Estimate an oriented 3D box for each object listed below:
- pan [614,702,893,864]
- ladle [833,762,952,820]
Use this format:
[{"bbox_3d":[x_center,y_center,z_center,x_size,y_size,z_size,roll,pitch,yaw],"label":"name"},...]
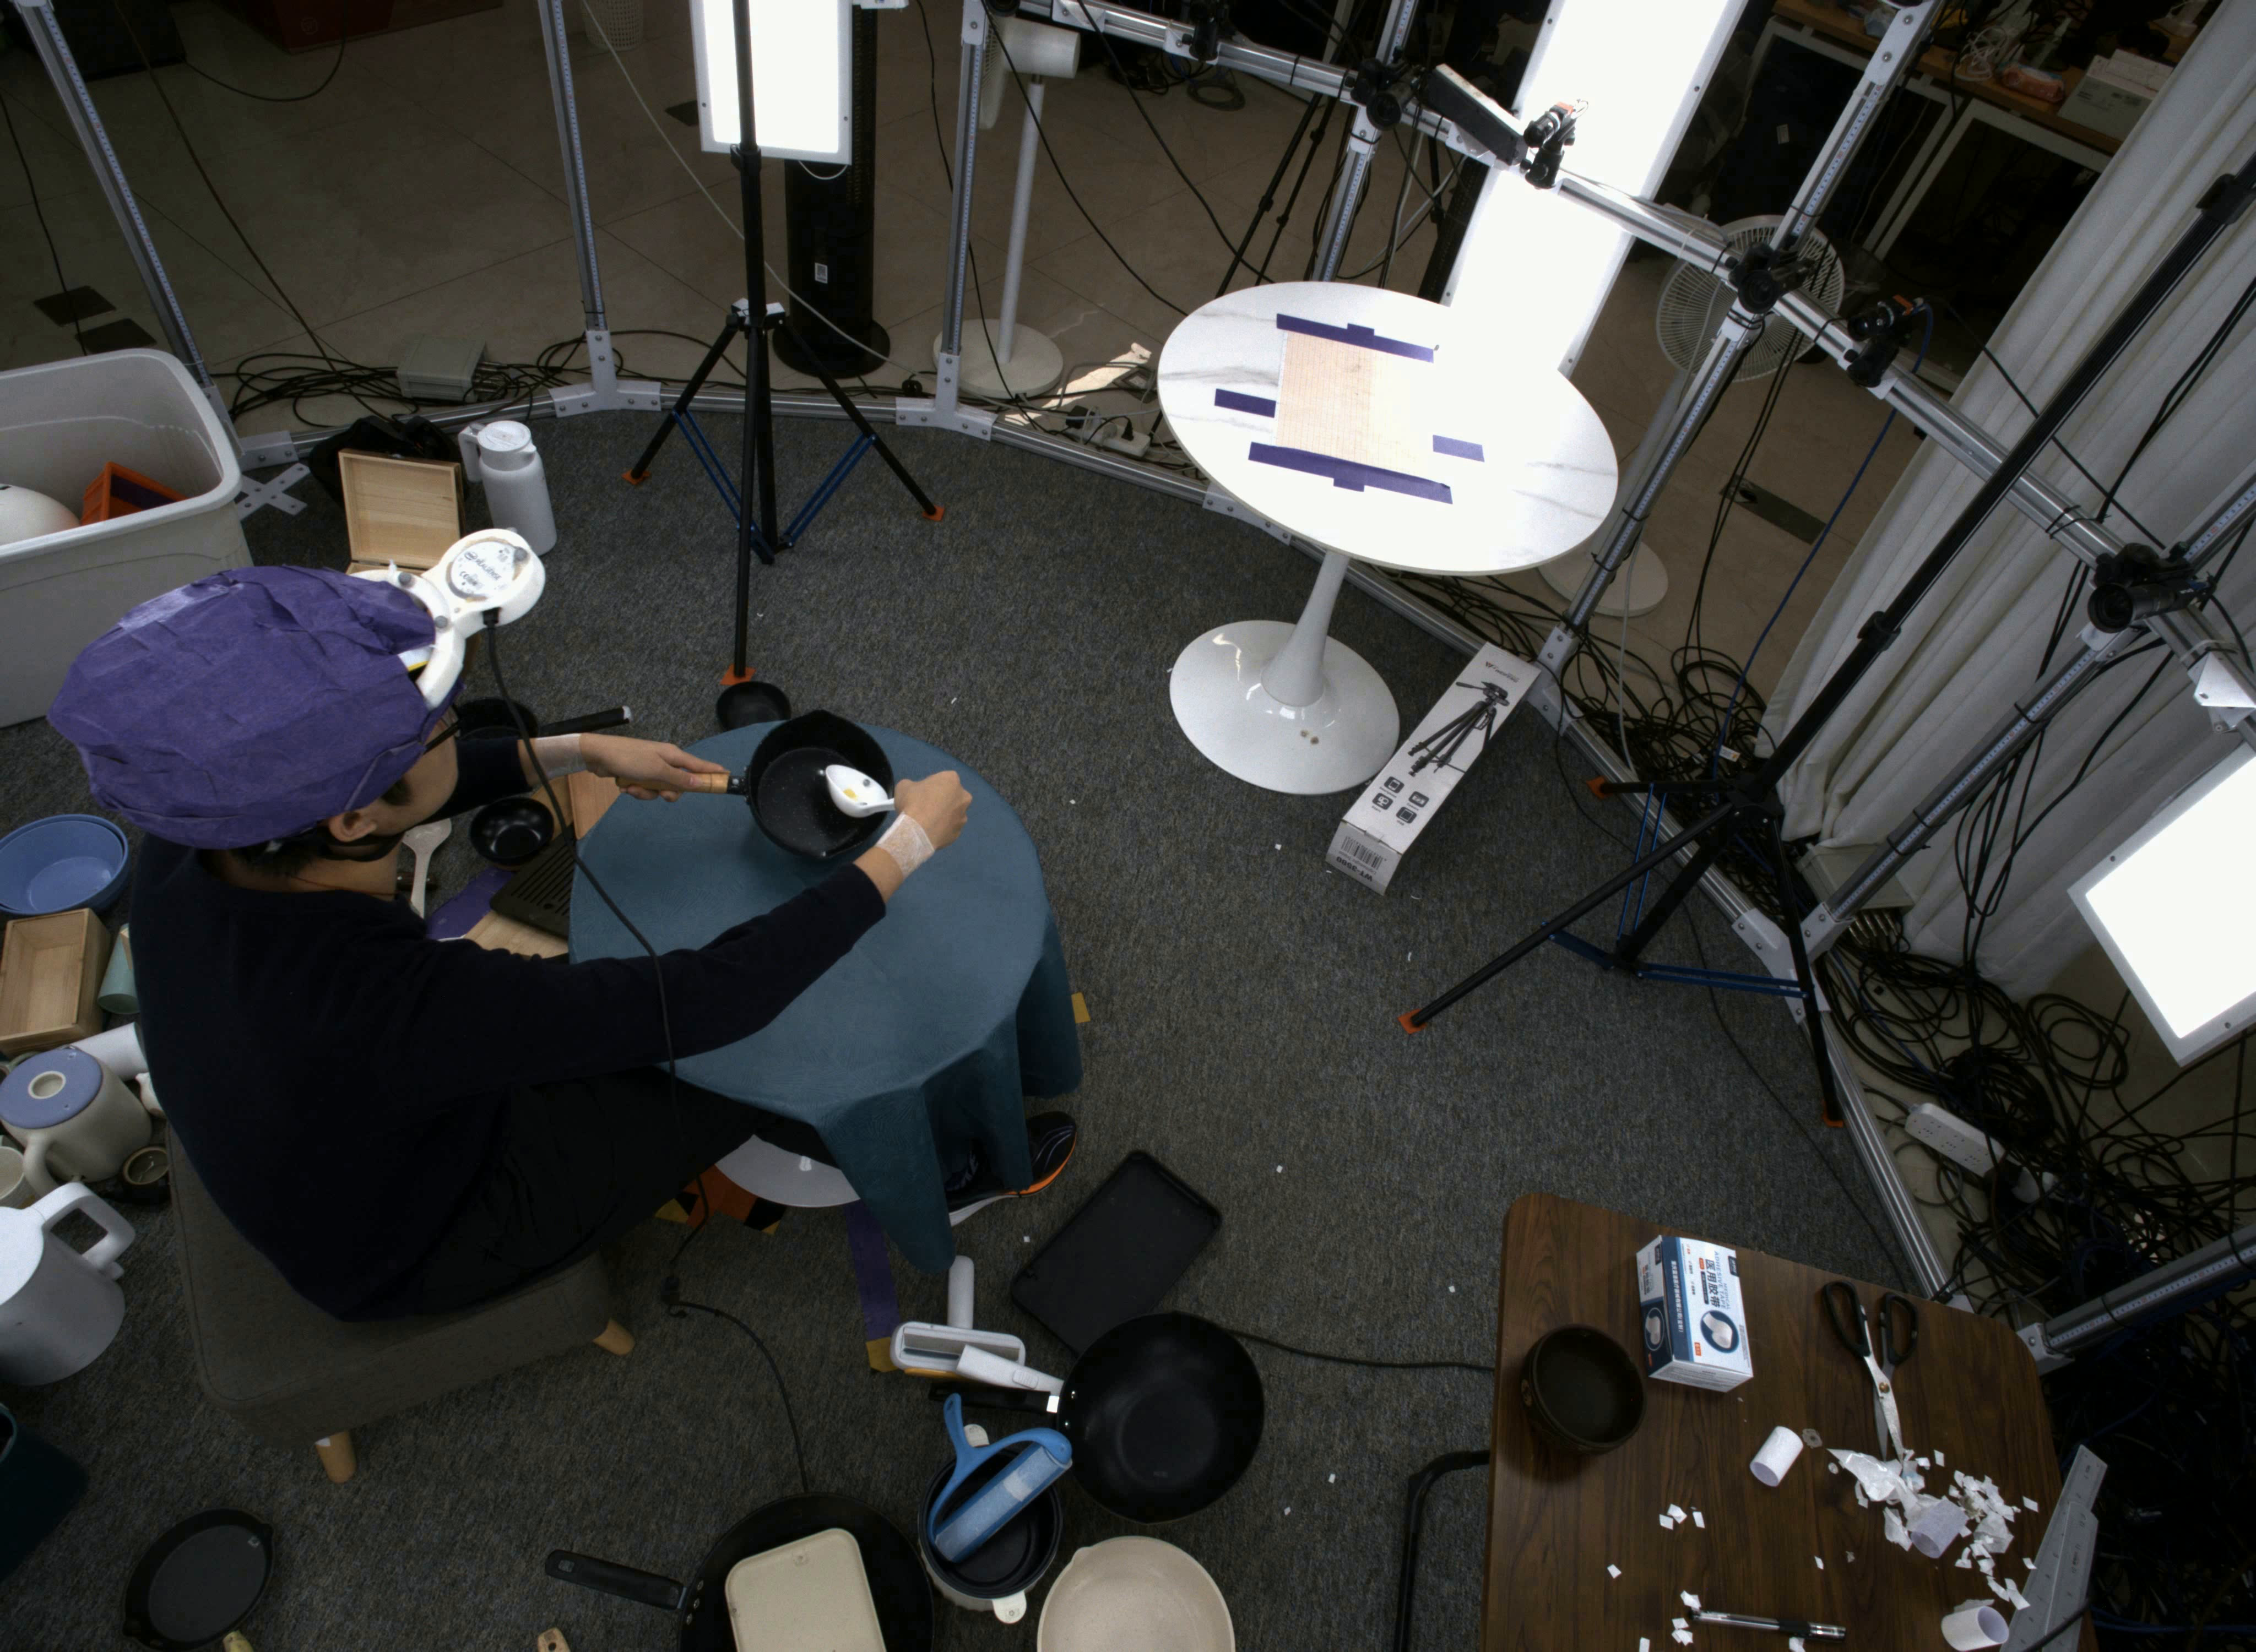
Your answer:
[{"bbox_3d":[-0.471,-0.048,1.624,0.346,0.107,0.207,-1,78,-25],"label":"pan"},{"bbox_3d":[-0.283,-0.043,1.574,0.093,0.284,0.070,32,72,-30],"label":"ladle"}]
